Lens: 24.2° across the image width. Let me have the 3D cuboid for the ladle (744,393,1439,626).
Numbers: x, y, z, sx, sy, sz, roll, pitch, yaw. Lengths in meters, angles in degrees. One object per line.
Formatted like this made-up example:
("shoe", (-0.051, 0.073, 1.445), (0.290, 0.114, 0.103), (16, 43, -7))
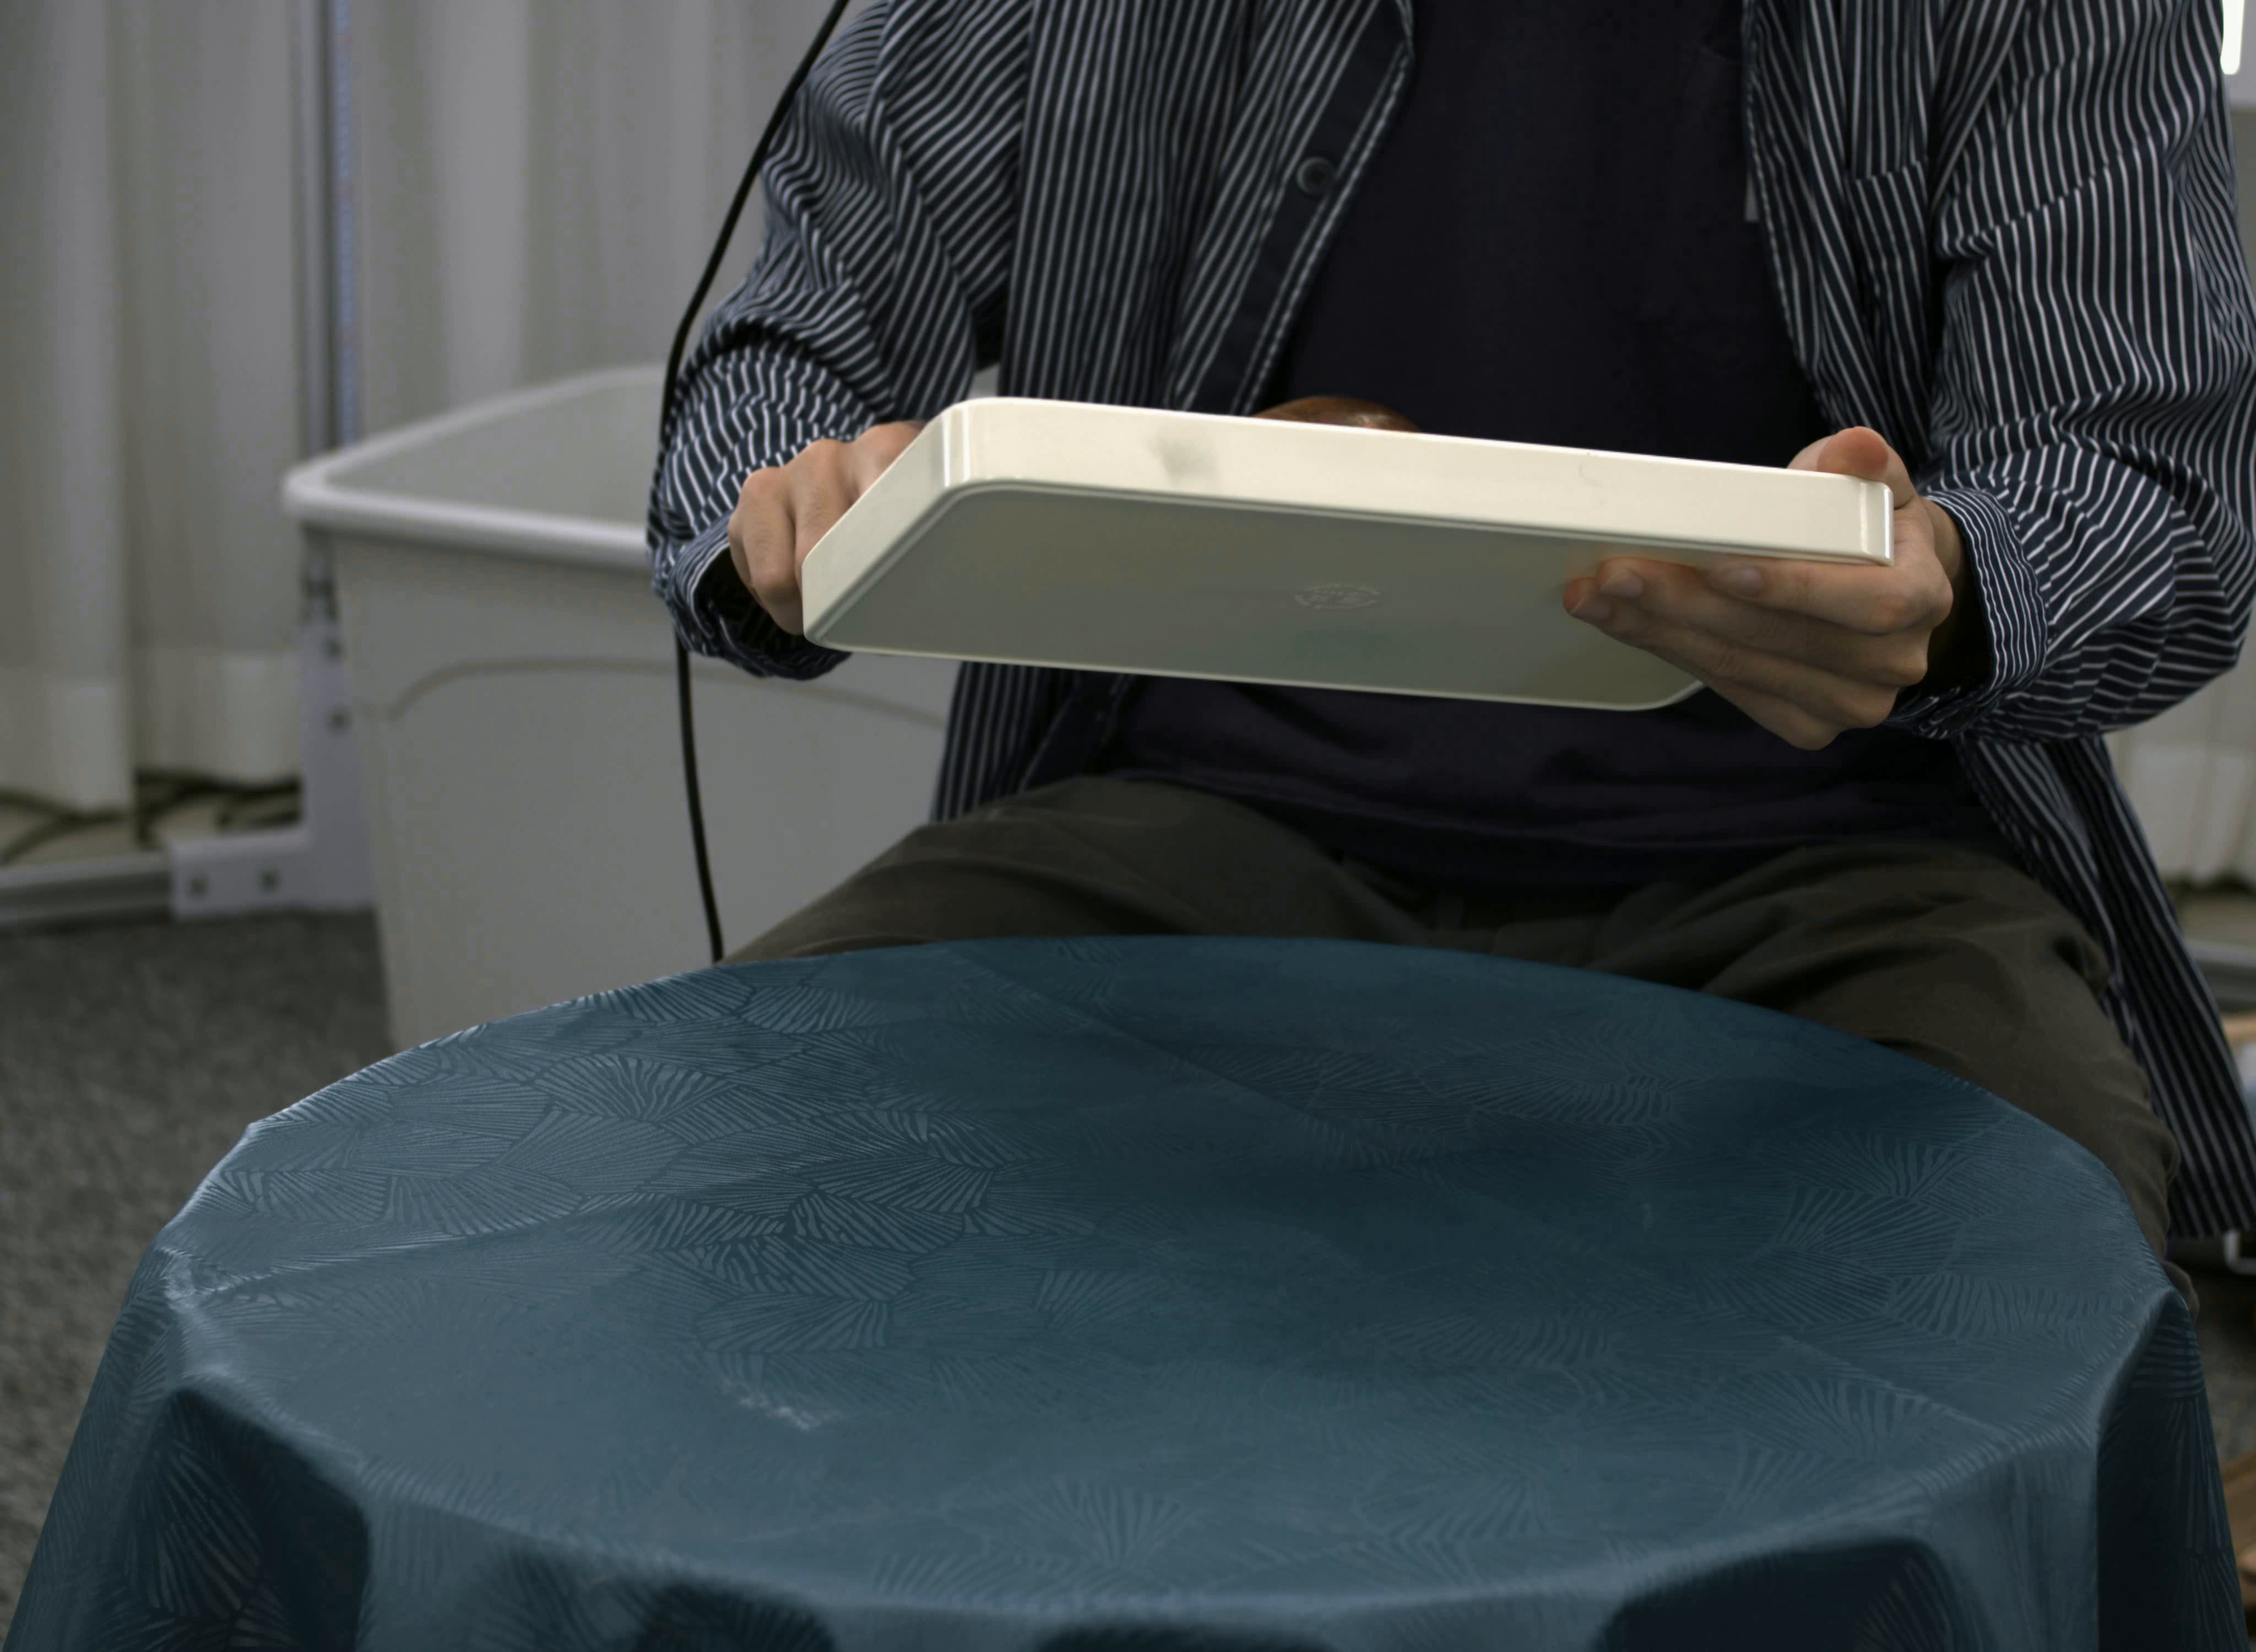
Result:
("ladle", (-0.009, -0.086, 1.742), (0.271, 0.077, 0.081), (-13, 43, 42))

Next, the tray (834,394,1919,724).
("tray", (0.073, -0.077, 1.621), (0.301, 0.027, 0.191), (4, -16, -18))
